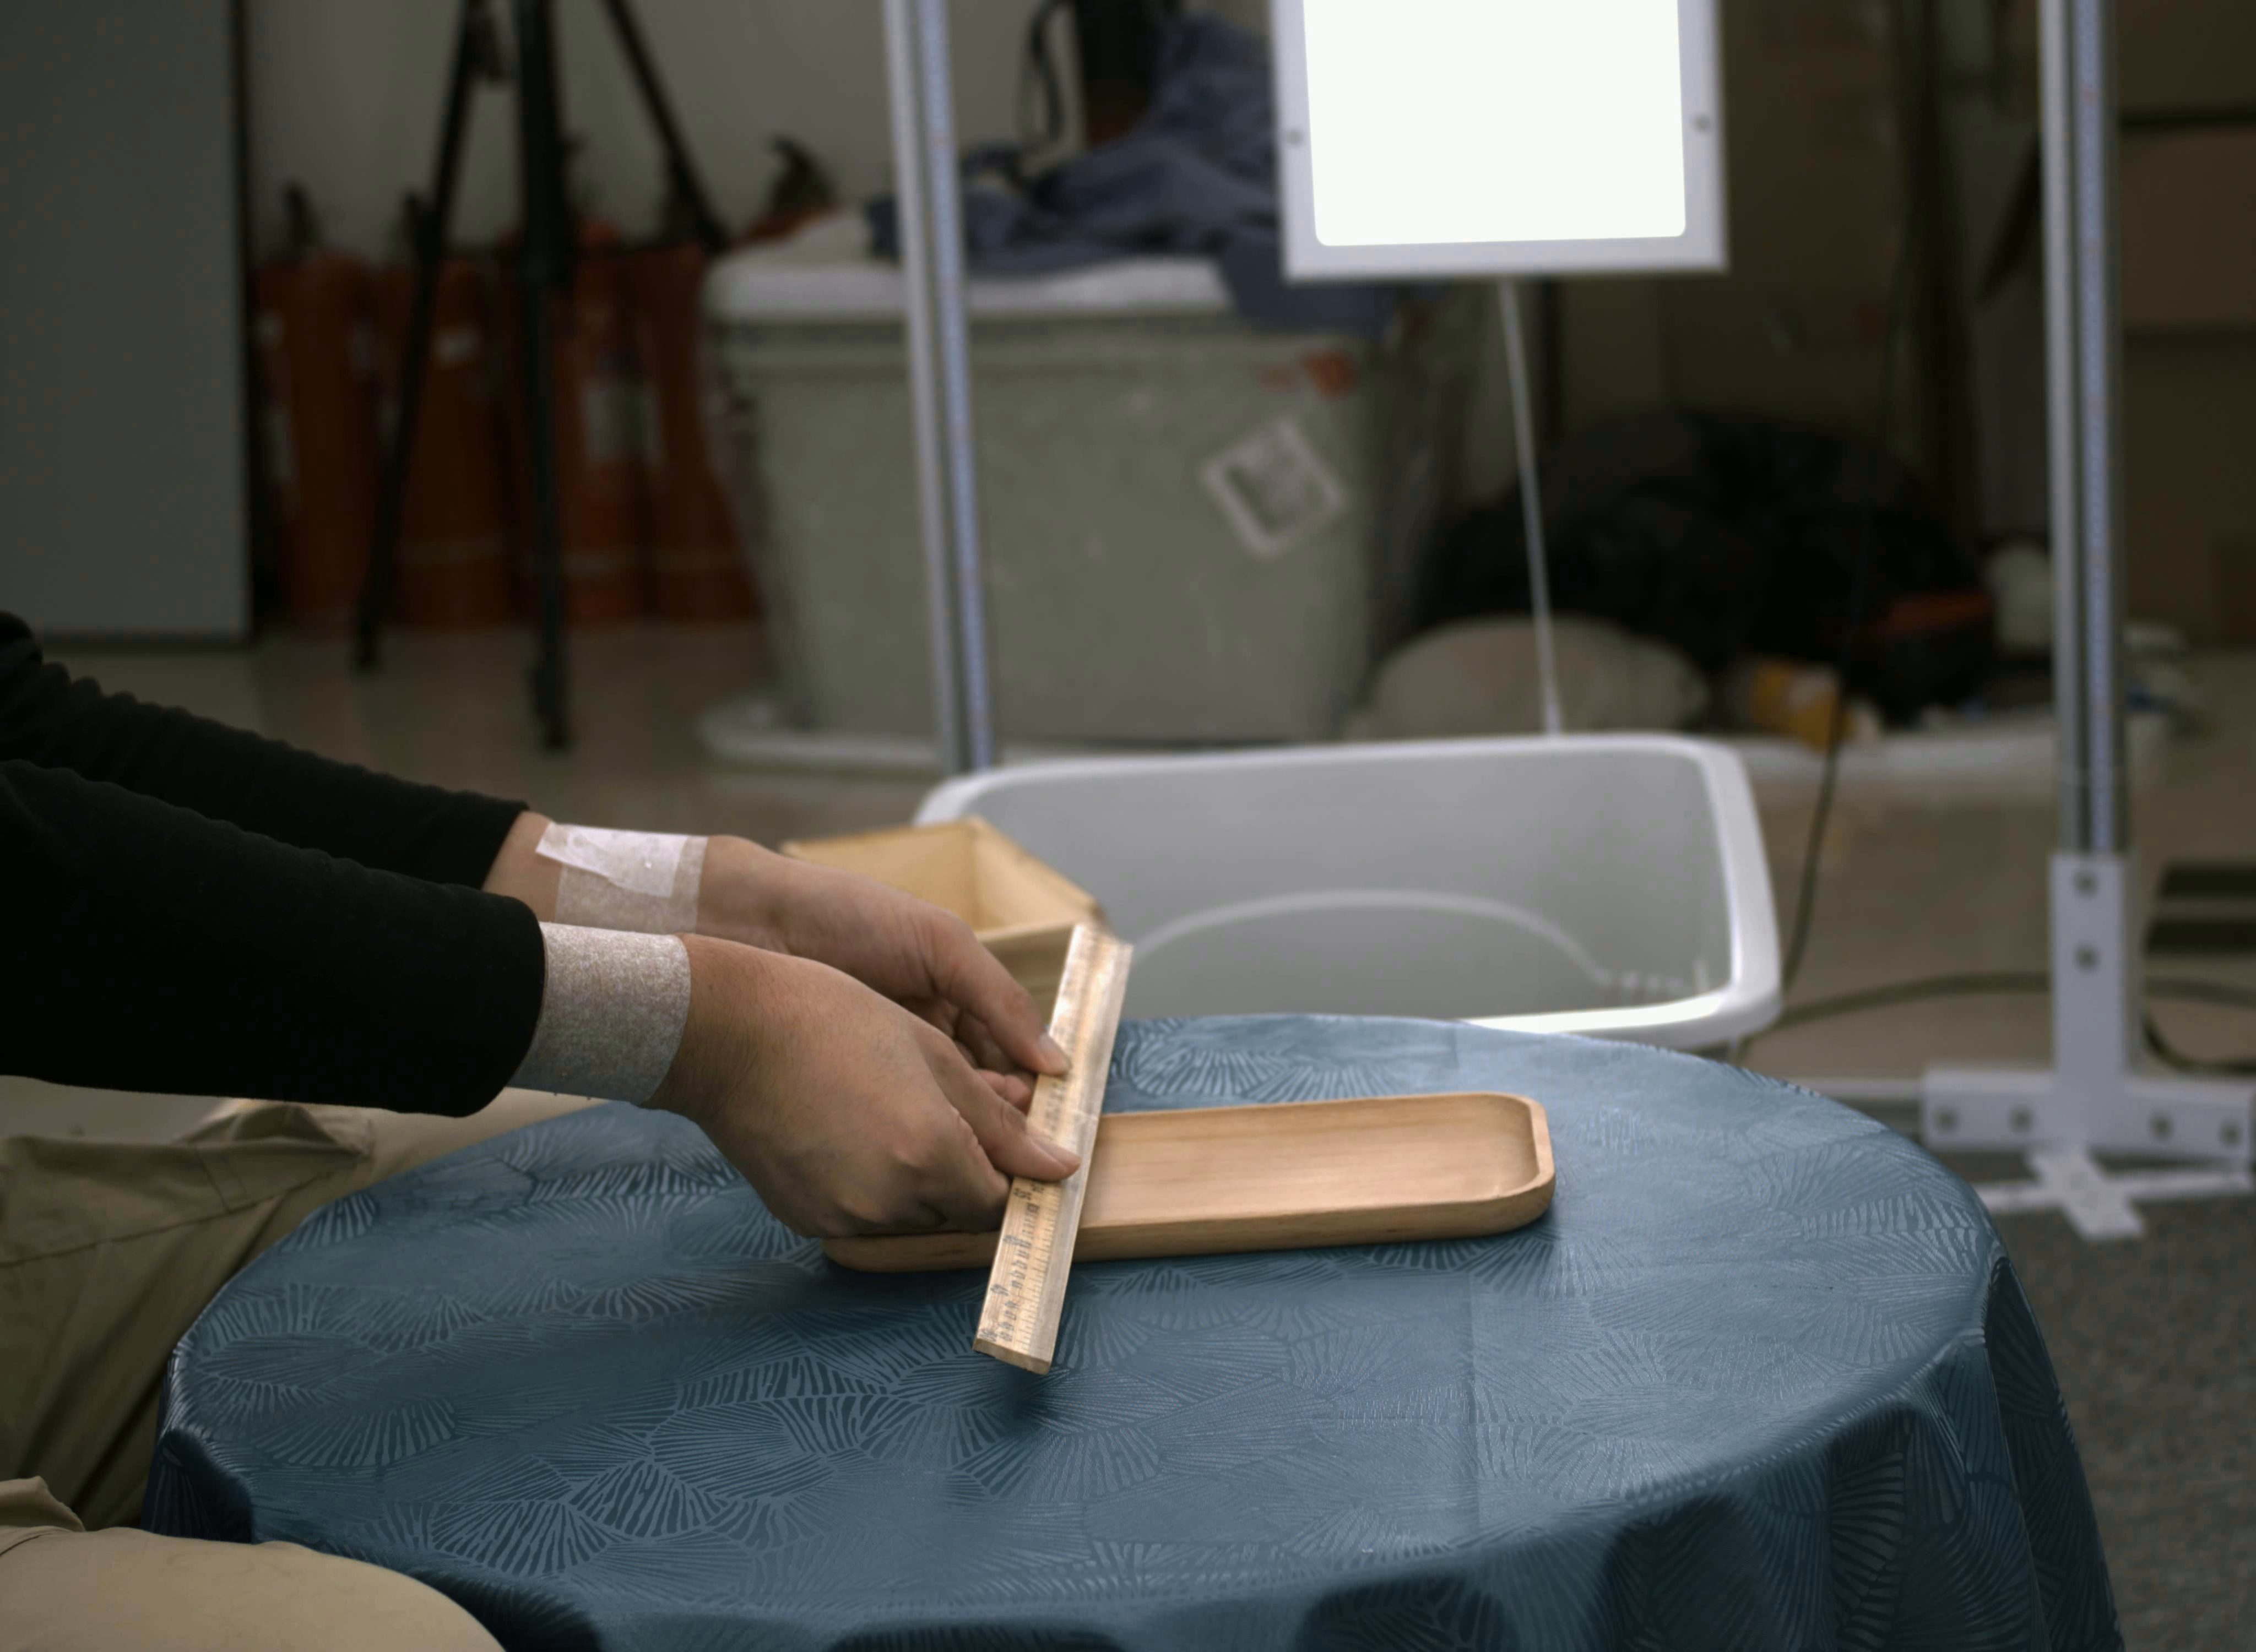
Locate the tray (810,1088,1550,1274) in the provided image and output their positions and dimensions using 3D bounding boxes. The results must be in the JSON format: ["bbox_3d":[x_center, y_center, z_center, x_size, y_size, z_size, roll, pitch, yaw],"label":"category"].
[{"bbox_3d":[0.019,0.121,1.880,0.251,0.023,0.130,-5,12,6],"label":"tray"}]

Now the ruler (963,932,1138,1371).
[{"bbox_3d":[-0.023,0.103,1.912,0.027,0.006,0.497,17,14,0],"label":"ruler"}]
